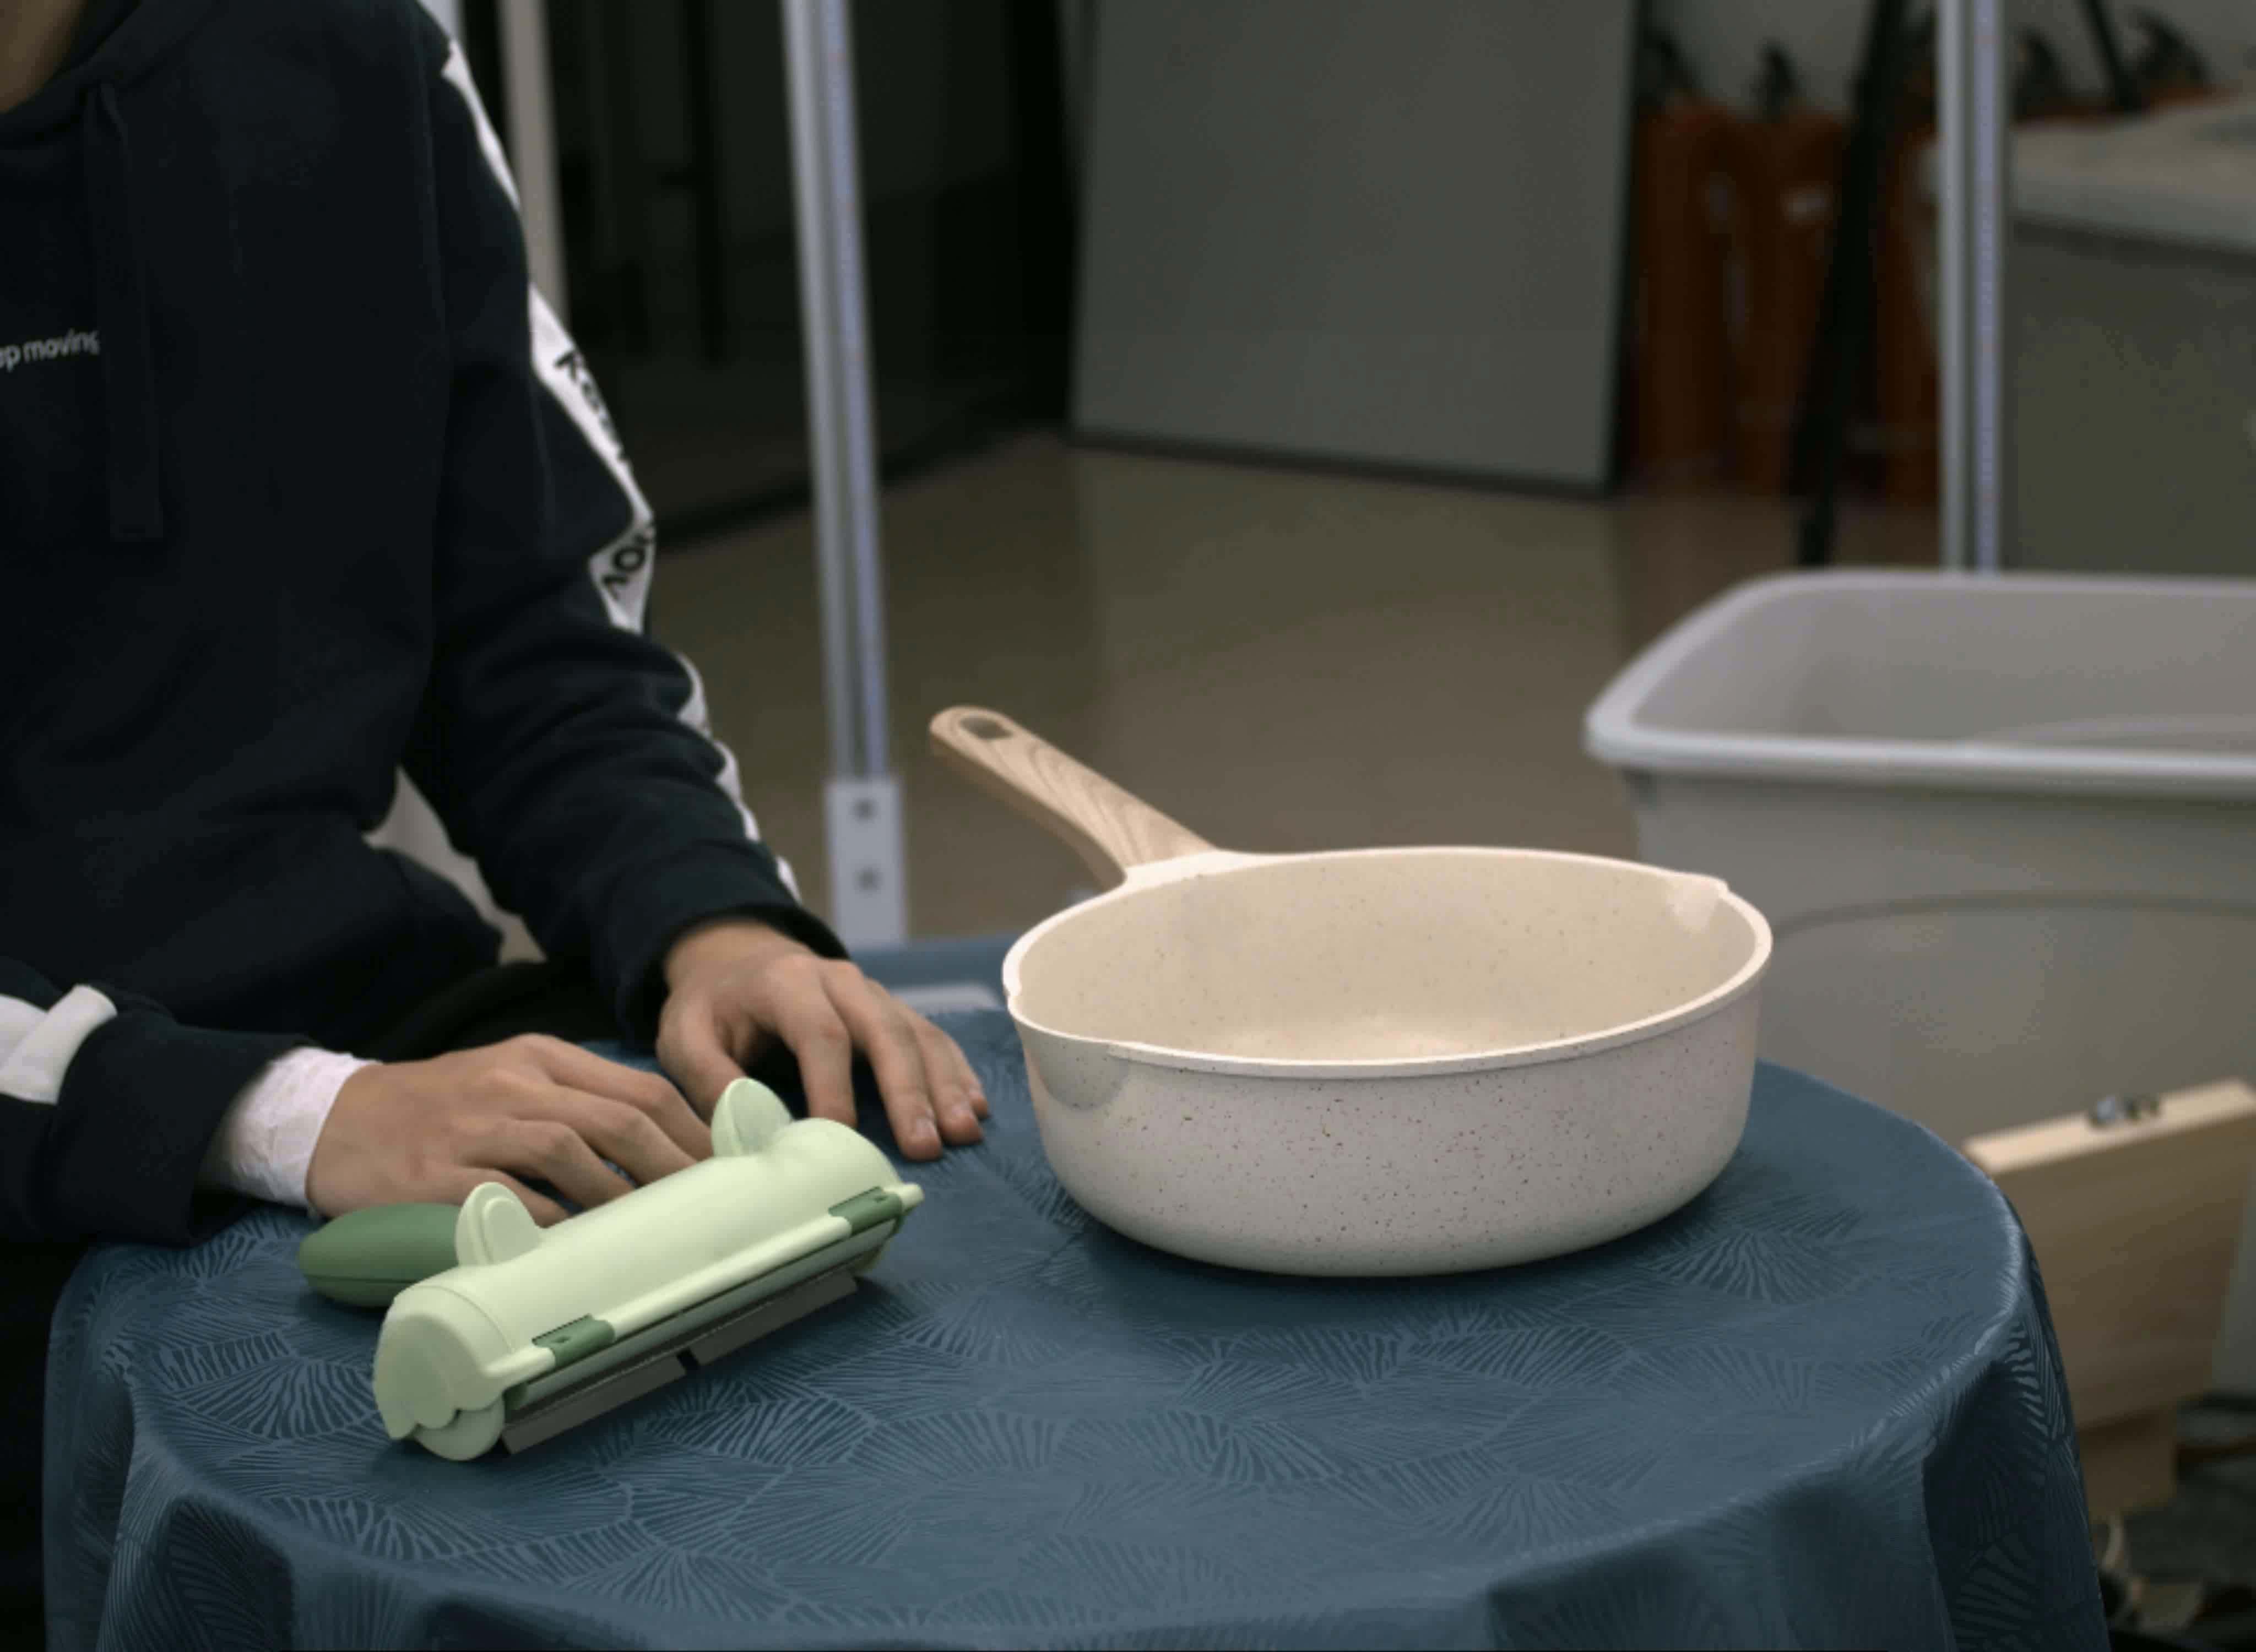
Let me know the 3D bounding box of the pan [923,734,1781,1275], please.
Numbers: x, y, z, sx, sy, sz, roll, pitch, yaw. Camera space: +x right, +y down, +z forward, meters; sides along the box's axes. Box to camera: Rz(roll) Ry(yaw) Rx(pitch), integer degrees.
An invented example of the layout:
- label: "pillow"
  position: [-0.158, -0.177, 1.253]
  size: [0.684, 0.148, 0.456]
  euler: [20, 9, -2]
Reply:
- label: "pan"
  position: [0.045, 0.053, 1.828]
  size: [0.258, 0.103, 0.439]
  euler: [-13, 16, -26]

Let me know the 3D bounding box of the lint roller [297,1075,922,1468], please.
- label: "lint roller"
  position: [-0.189, 0.122, 1.665]
  size: [0.184, 0.083, 0.195]
  euler: [13, 21, 36]
